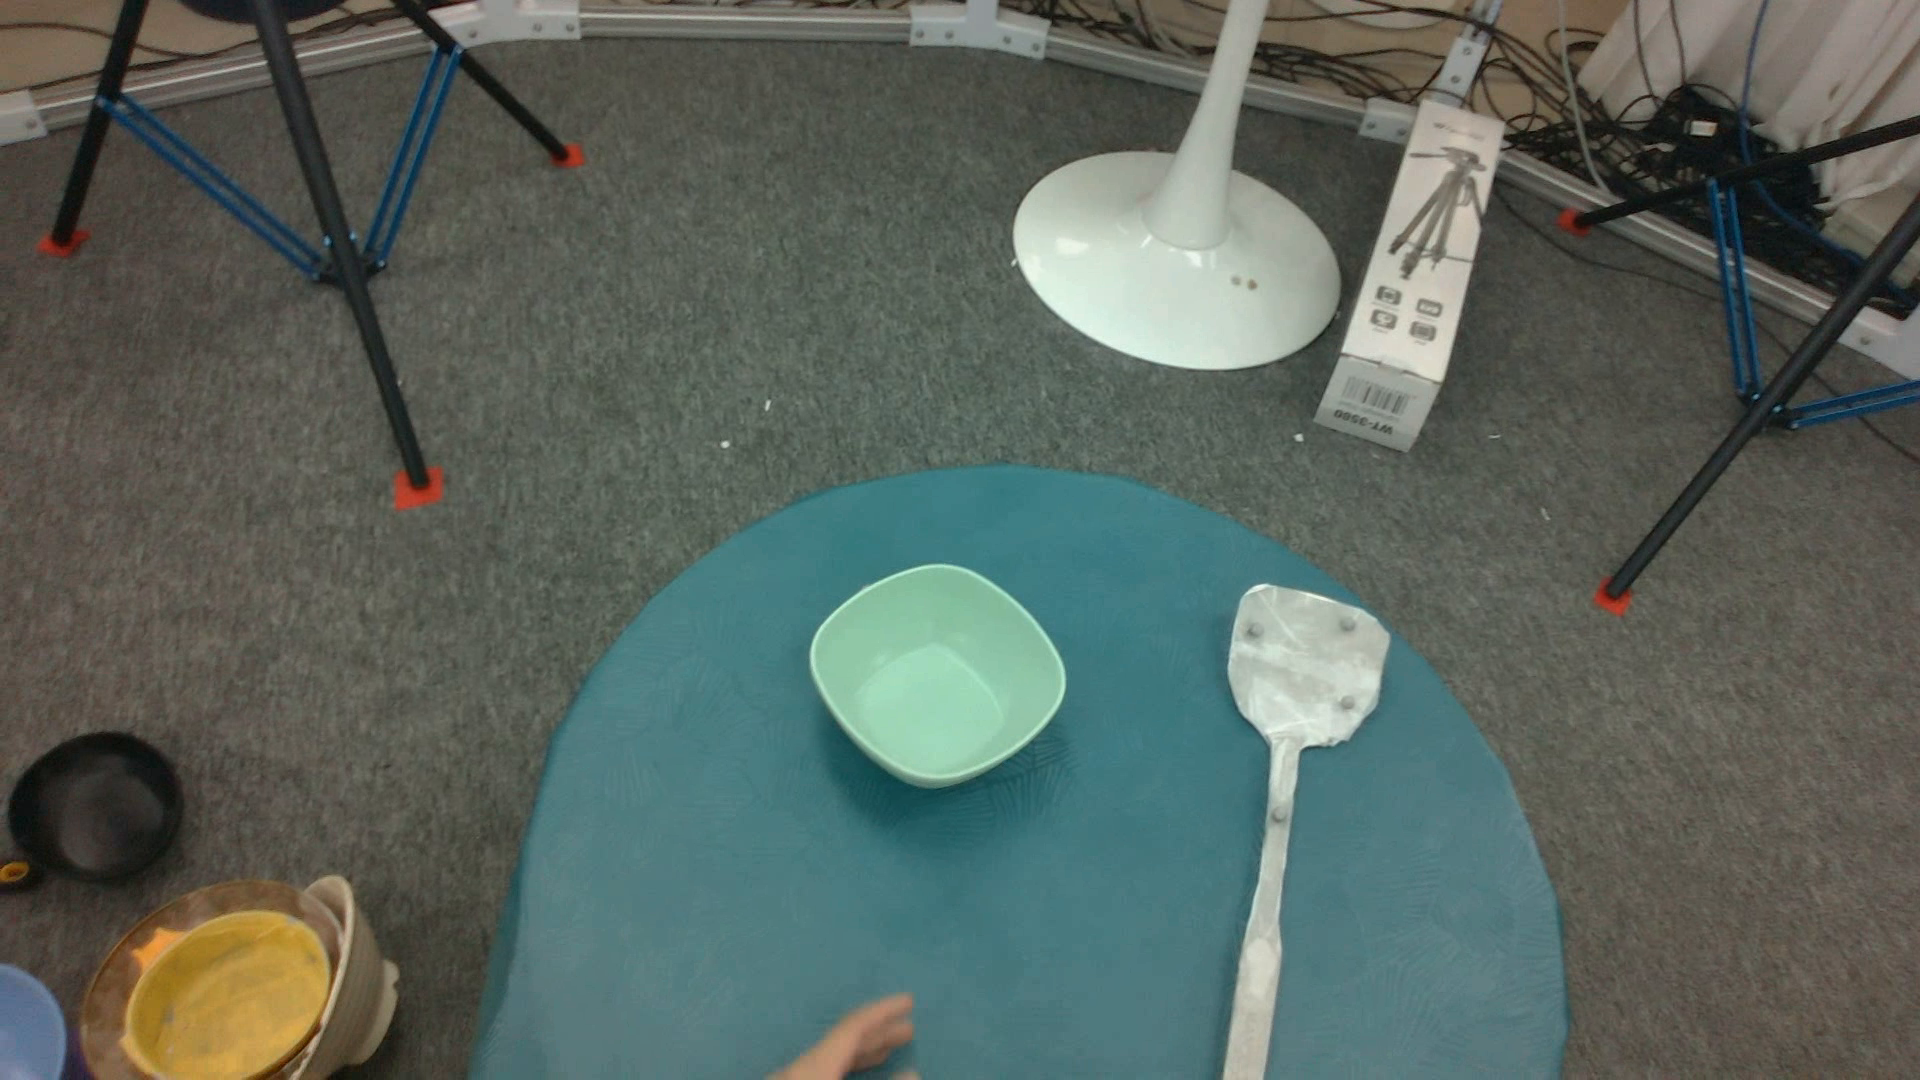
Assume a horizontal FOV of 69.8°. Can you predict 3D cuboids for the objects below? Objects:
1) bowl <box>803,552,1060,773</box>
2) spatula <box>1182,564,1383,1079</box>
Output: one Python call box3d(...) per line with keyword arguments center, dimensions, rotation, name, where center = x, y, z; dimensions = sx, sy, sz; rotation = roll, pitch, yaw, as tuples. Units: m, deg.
box3d(center=(-0.019, 0.082, 0.824), dimensions=(0.151, 0.058, 0.152), rotation=(5, 49, -5), name="bowl")
box3d(center=(0.176, 0.167, 0.801), dimensions=(0.098, 0.044, 0.367), rotation=(20, 51, 3), name="spatula")
